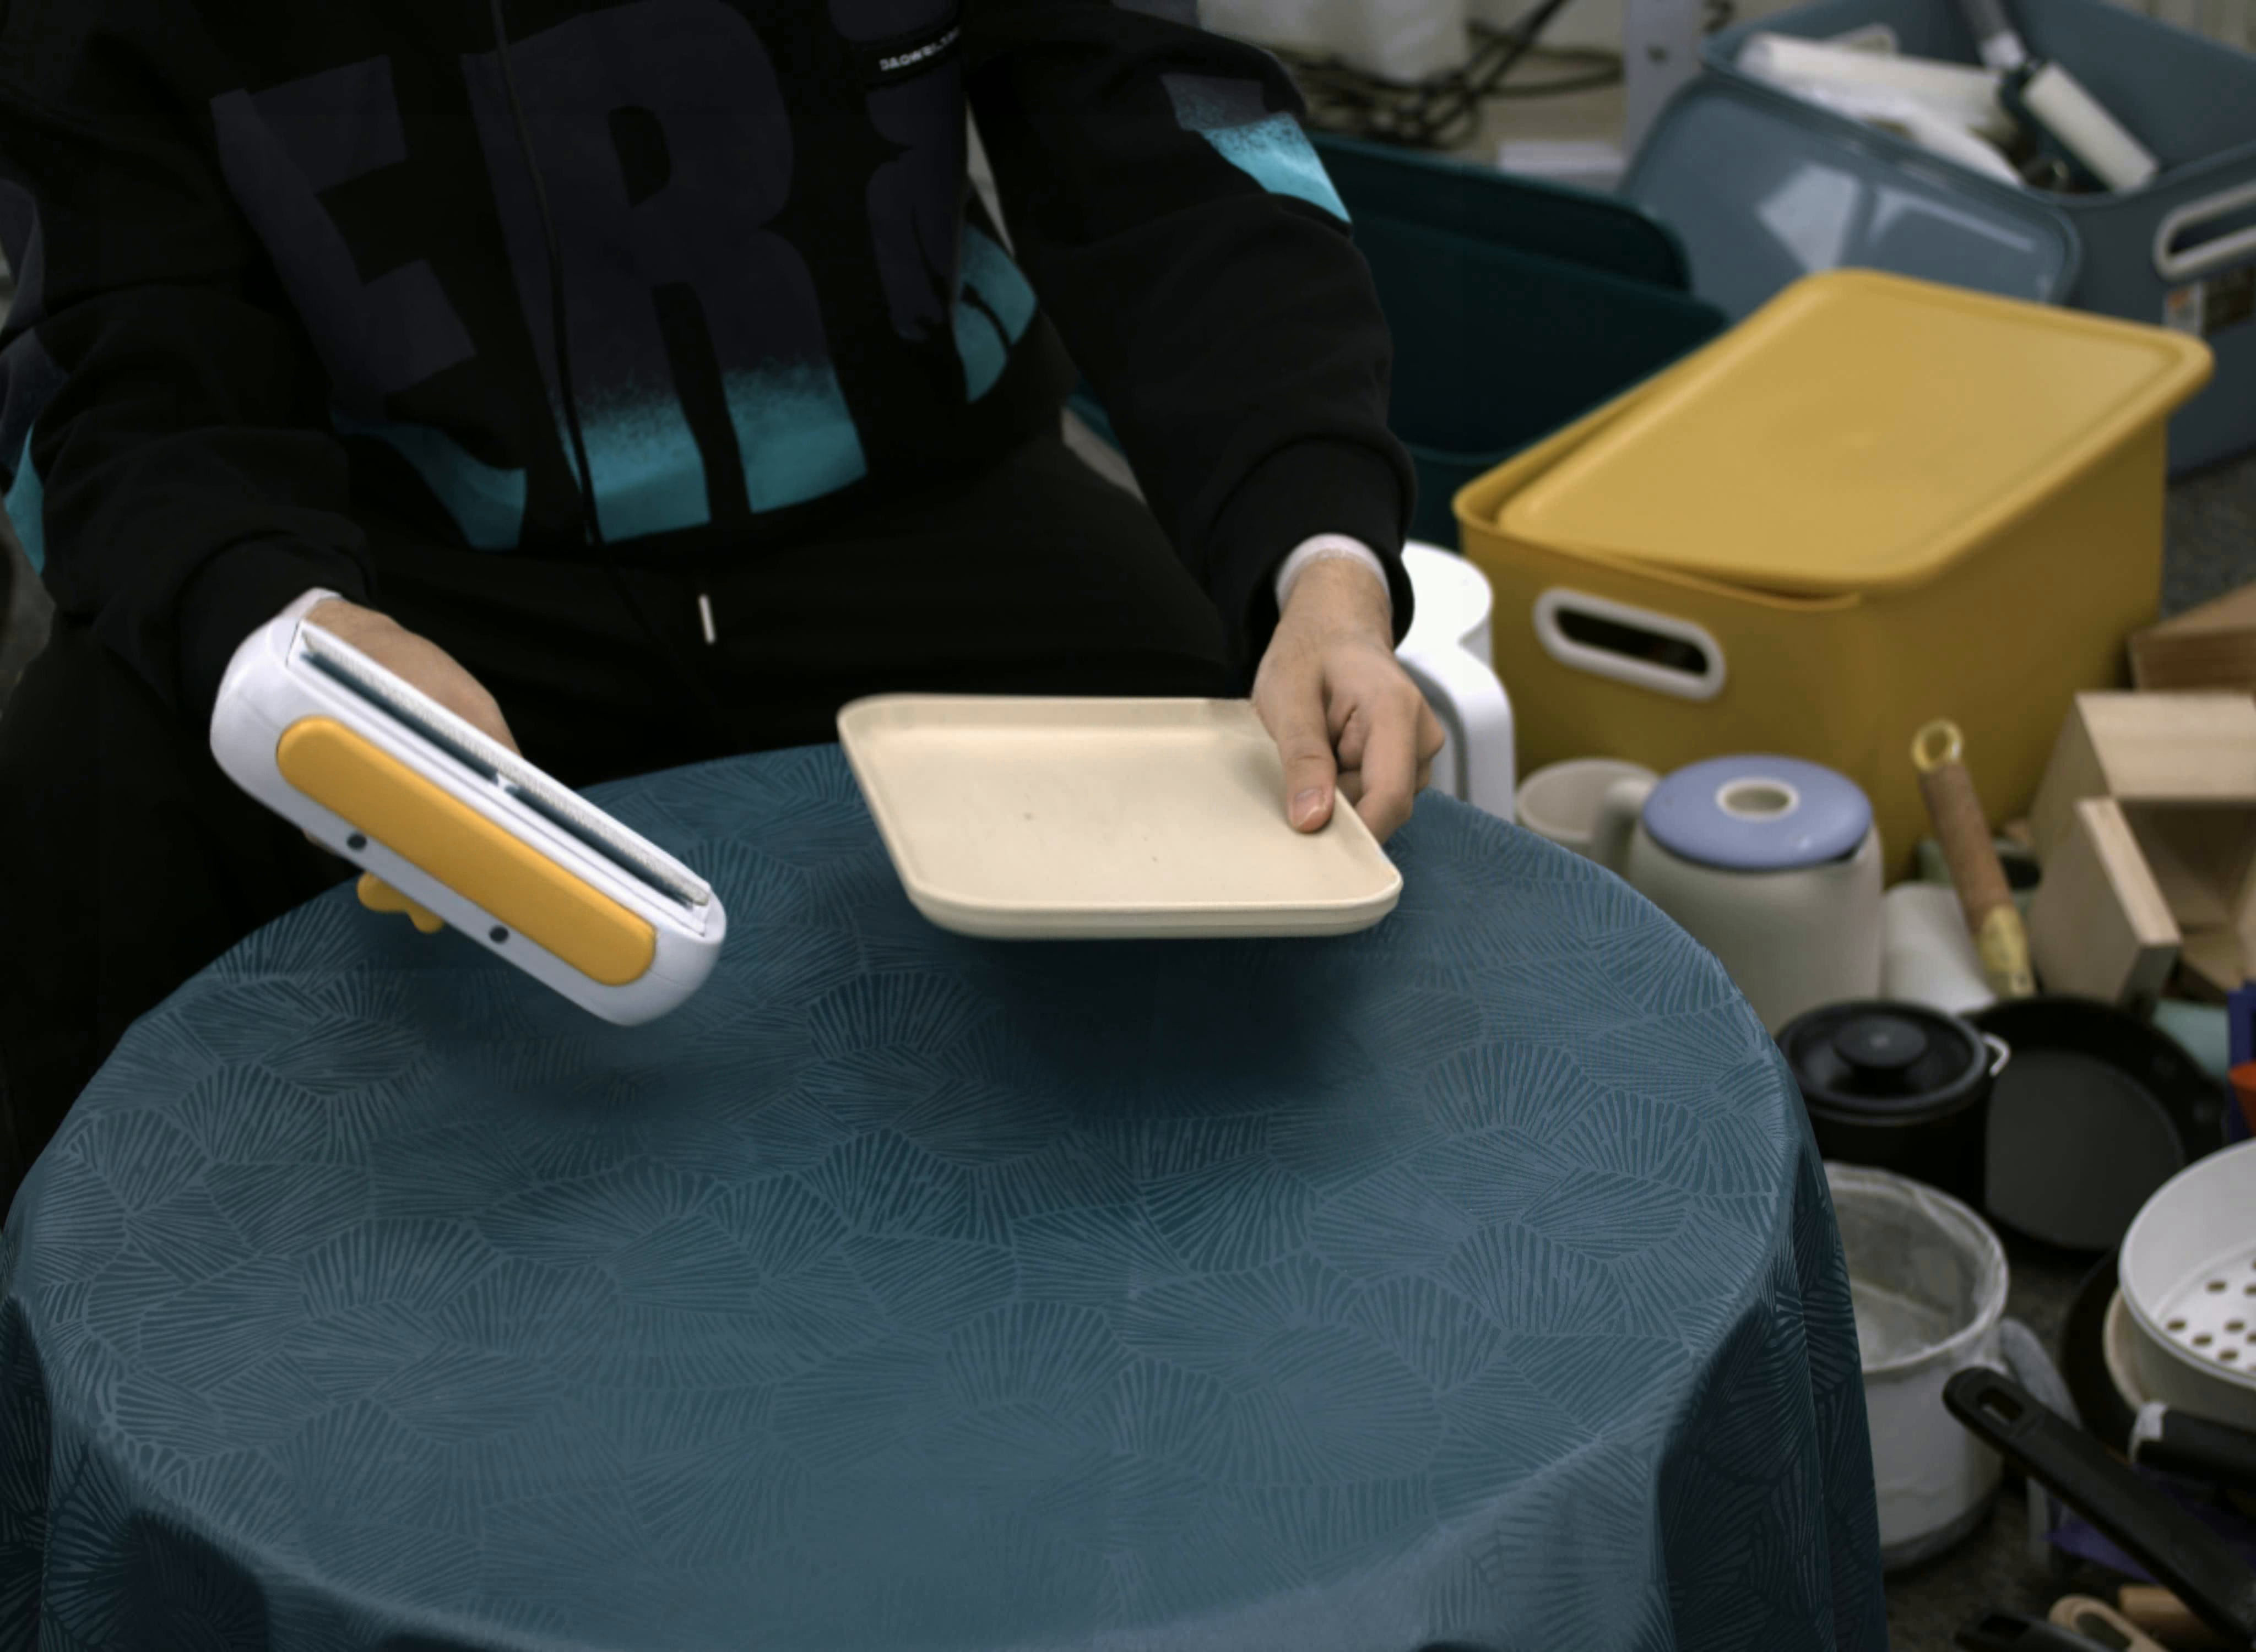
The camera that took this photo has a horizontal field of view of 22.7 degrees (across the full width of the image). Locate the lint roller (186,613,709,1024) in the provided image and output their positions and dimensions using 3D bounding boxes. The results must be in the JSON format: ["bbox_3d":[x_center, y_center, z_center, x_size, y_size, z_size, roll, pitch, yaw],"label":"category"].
[{"bbox_3d":[-0.236,-0.008,1.951,0.192,0.074,0.193,29,9,-10],"label":"lint roller"}]

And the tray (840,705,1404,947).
[{"bbox_3d":[-0.006,-0.001,1.967,0.171,0.017,0.241,-2,17,-9],"label":"tray"}]
